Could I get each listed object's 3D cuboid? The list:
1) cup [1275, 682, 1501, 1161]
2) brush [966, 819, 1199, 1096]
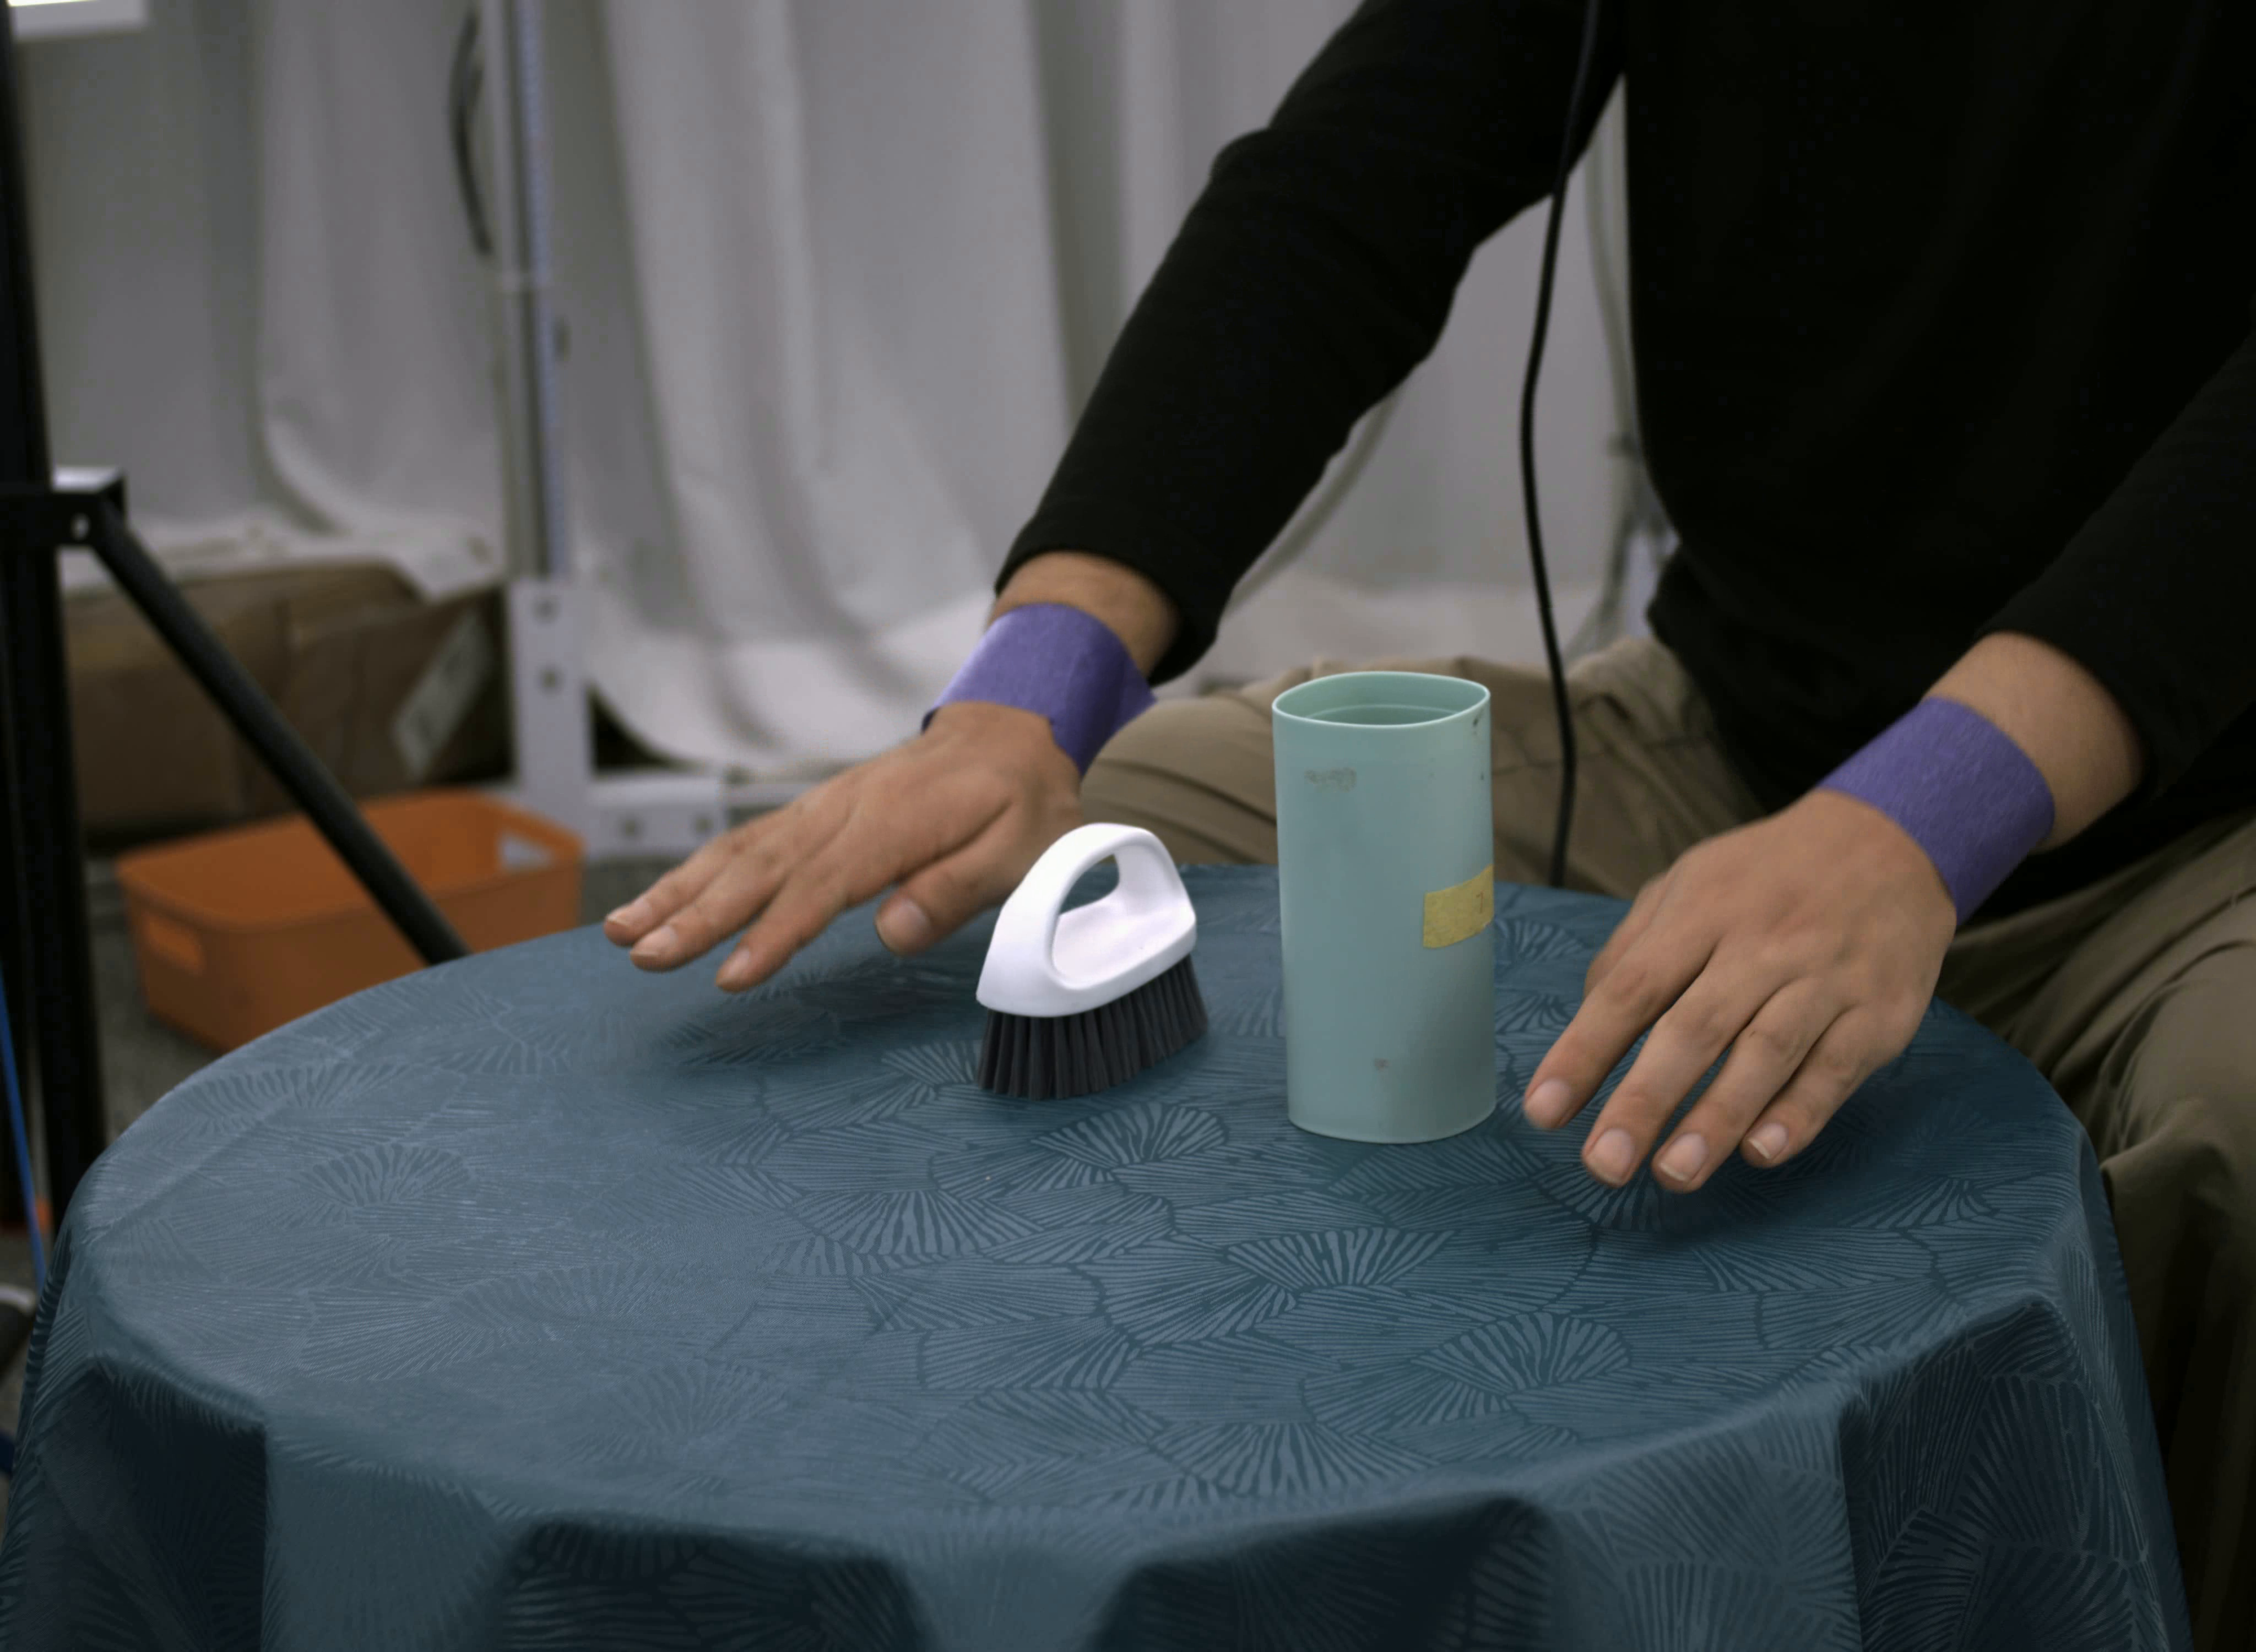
[{"bbox_3d":[0.079,0.028,1.603,0.066,0.132,0.067,-3,15,-1],"label":"cup"},{"bbox_3d":[-0.014,0.036,1.680,0.051,0.072,0.097,8,20,30],"label":"brush"}]
